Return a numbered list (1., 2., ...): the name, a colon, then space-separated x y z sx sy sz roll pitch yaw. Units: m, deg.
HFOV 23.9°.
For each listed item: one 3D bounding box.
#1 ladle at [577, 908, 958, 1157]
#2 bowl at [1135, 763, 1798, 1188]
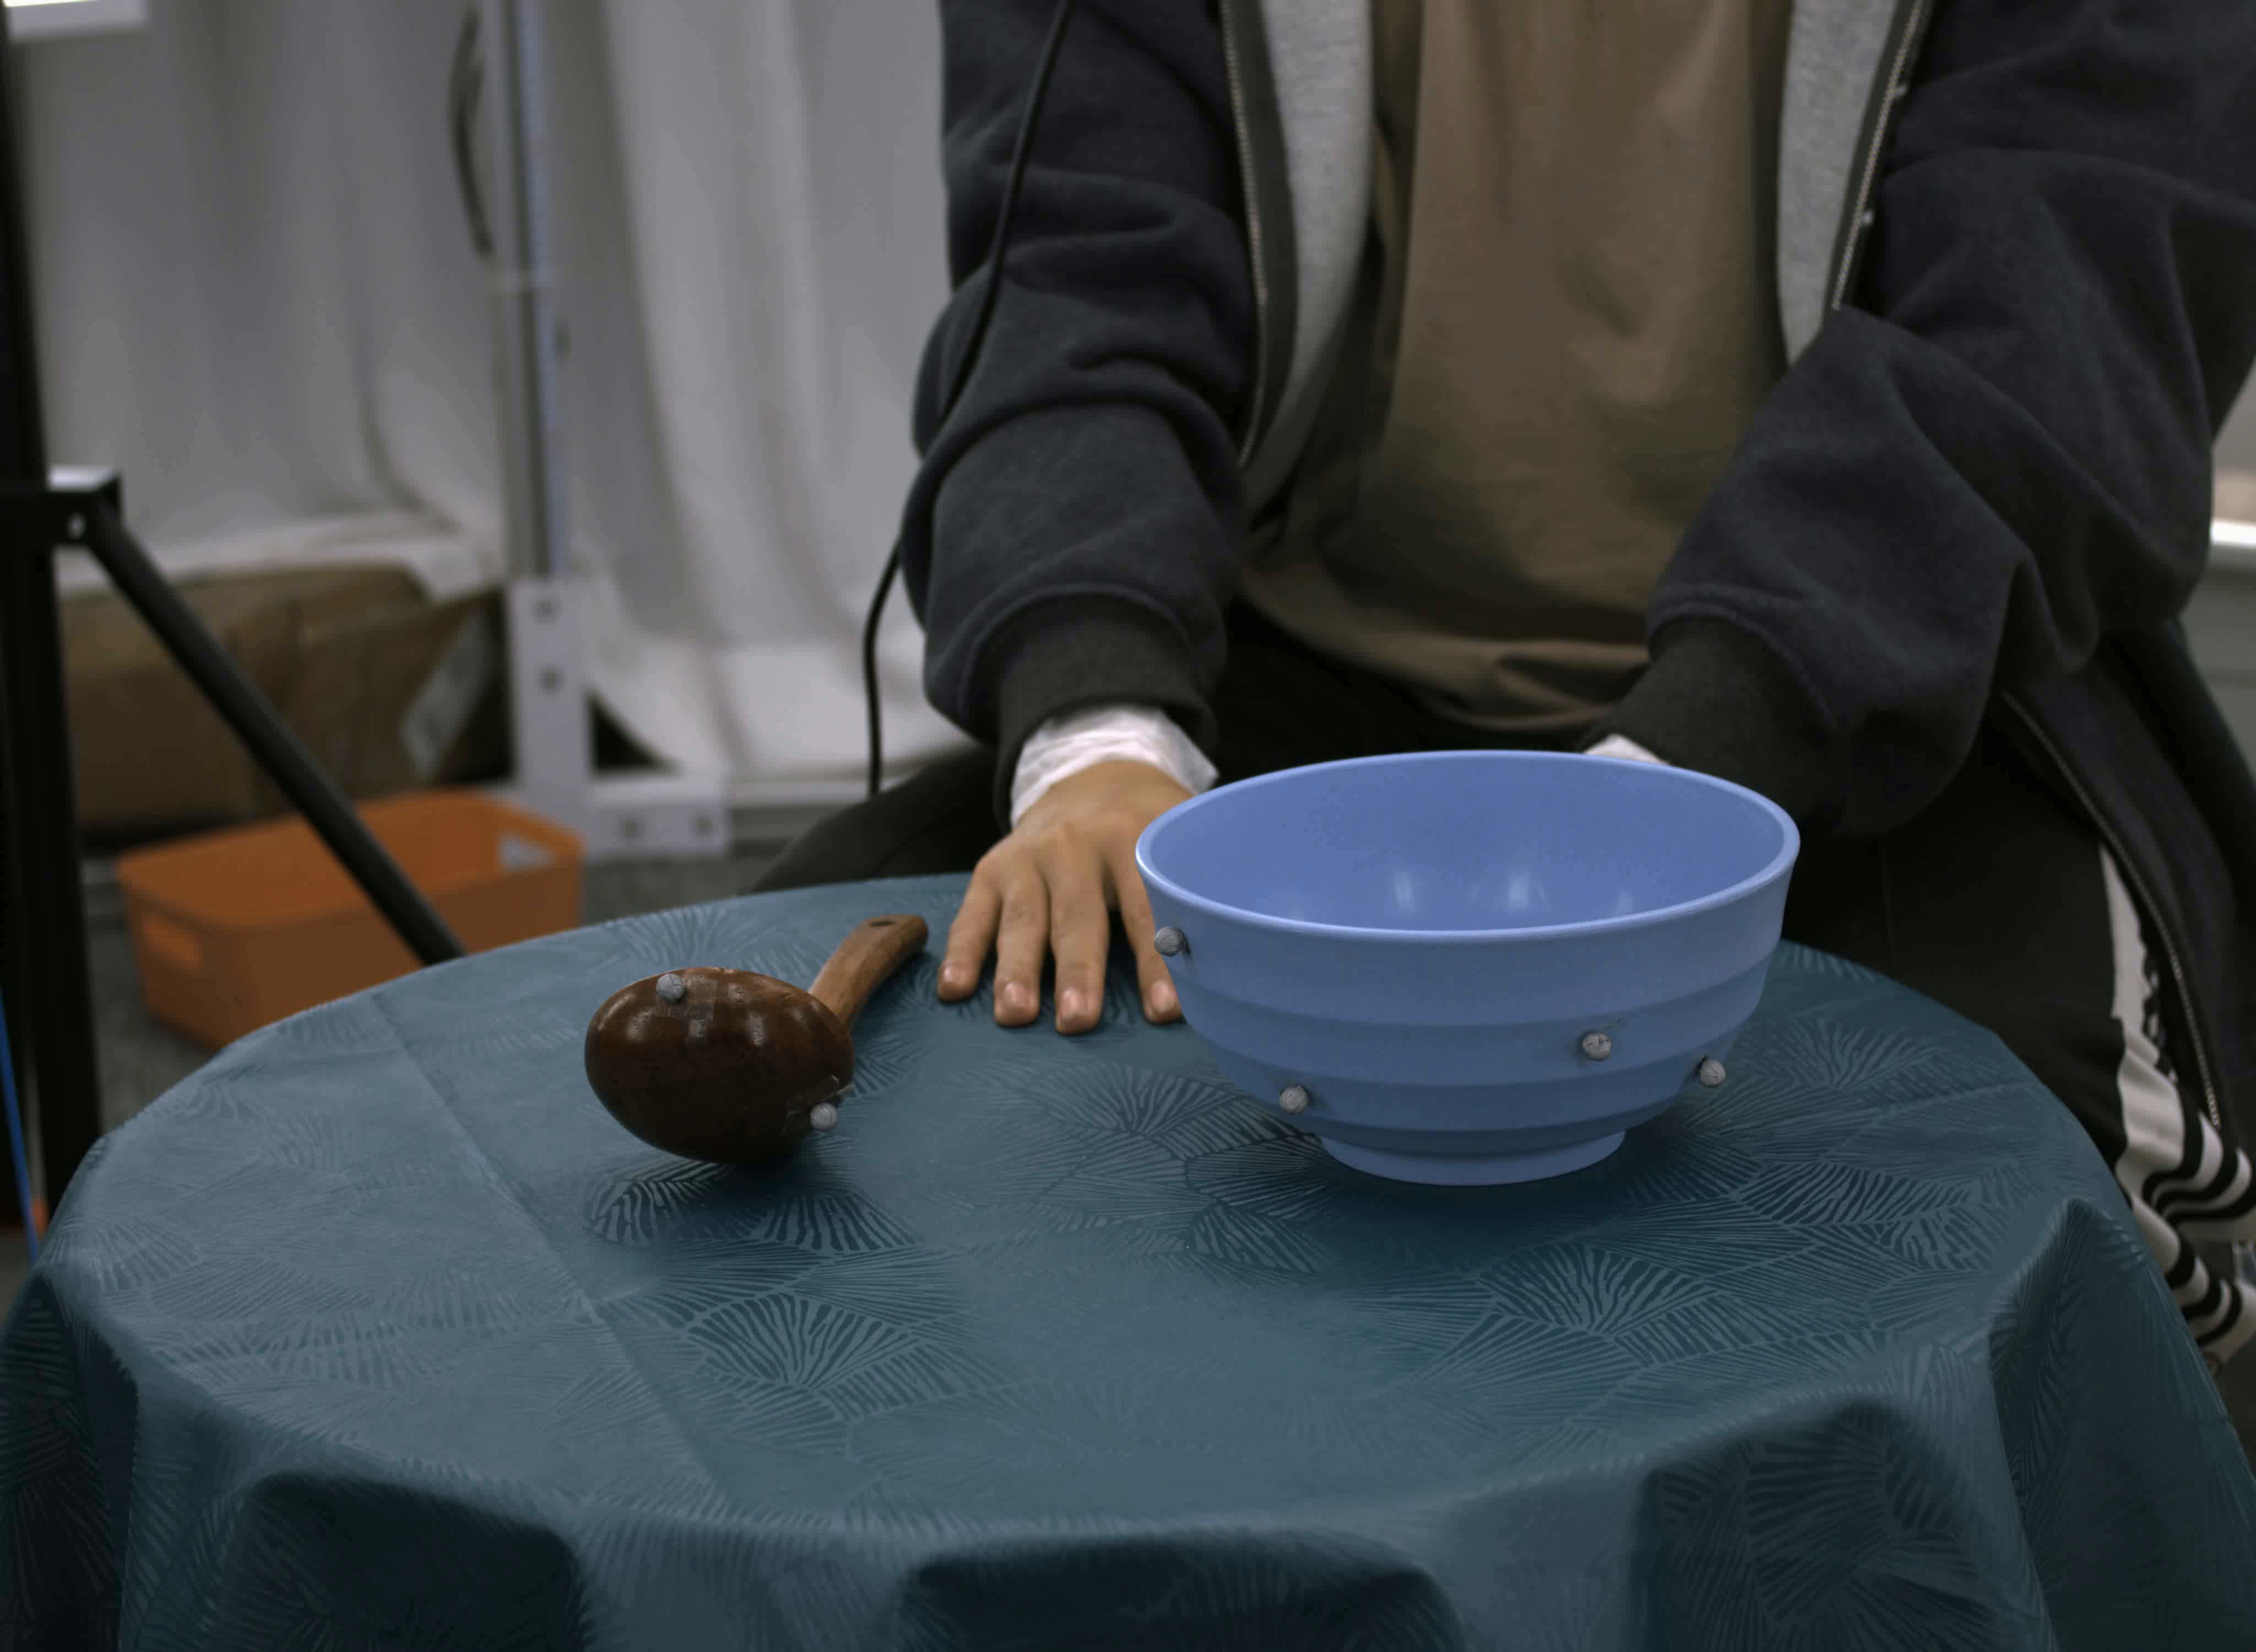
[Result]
1. ladle: -0.102 0.040 1.673 0.082 0.076 0.272 -3 16 13
2. bowl: 0.101 0.049 1.581 0.195 0.095 0.197 -3 14 -1
